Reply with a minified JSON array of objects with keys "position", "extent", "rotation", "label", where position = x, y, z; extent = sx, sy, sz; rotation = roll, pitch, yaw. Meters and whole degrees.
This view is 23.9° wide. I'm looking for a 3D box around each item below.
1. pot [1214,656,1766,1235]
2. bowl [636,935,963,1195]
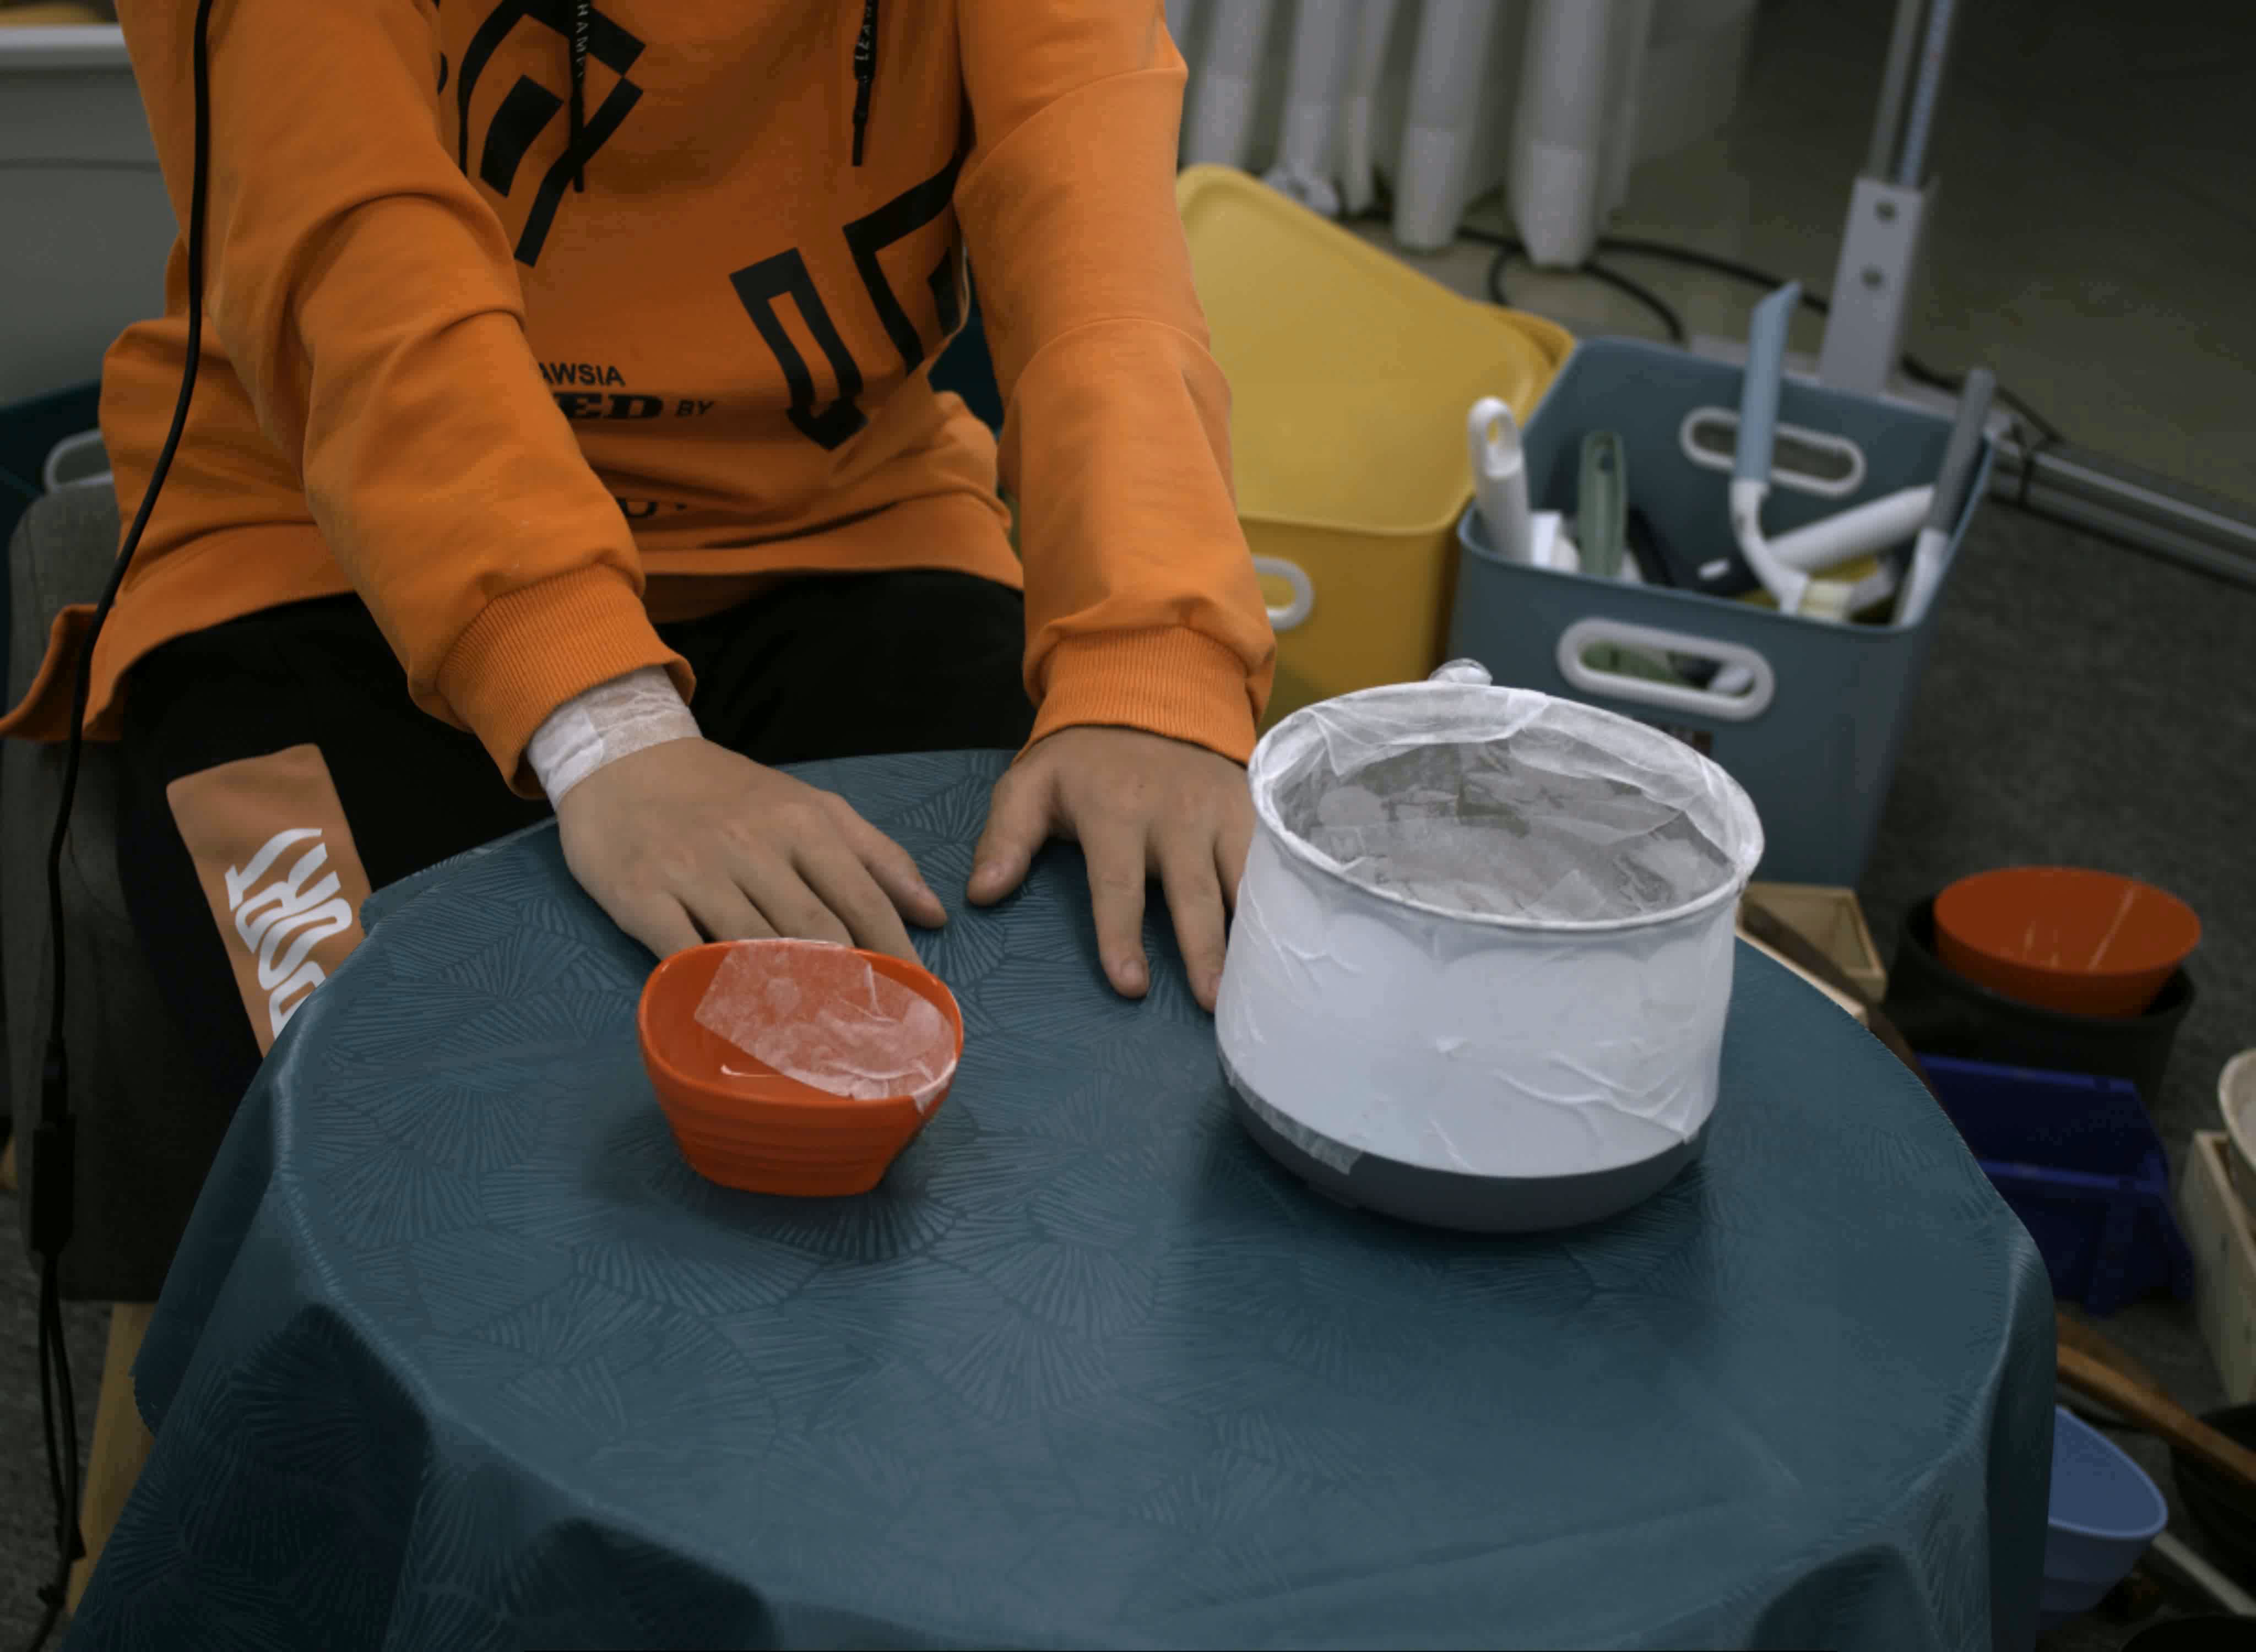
[{"position":[0.118,0.034,1.853],"extent":[0.178,0.136,0.235],"rotation":[3,27,-8],"label":"pot"},{"position":[-0.112,0.085,1.796],"extent":[0.118,0.051,0.119],"rotation":[4,29,-3],"label":"bowl"}]
